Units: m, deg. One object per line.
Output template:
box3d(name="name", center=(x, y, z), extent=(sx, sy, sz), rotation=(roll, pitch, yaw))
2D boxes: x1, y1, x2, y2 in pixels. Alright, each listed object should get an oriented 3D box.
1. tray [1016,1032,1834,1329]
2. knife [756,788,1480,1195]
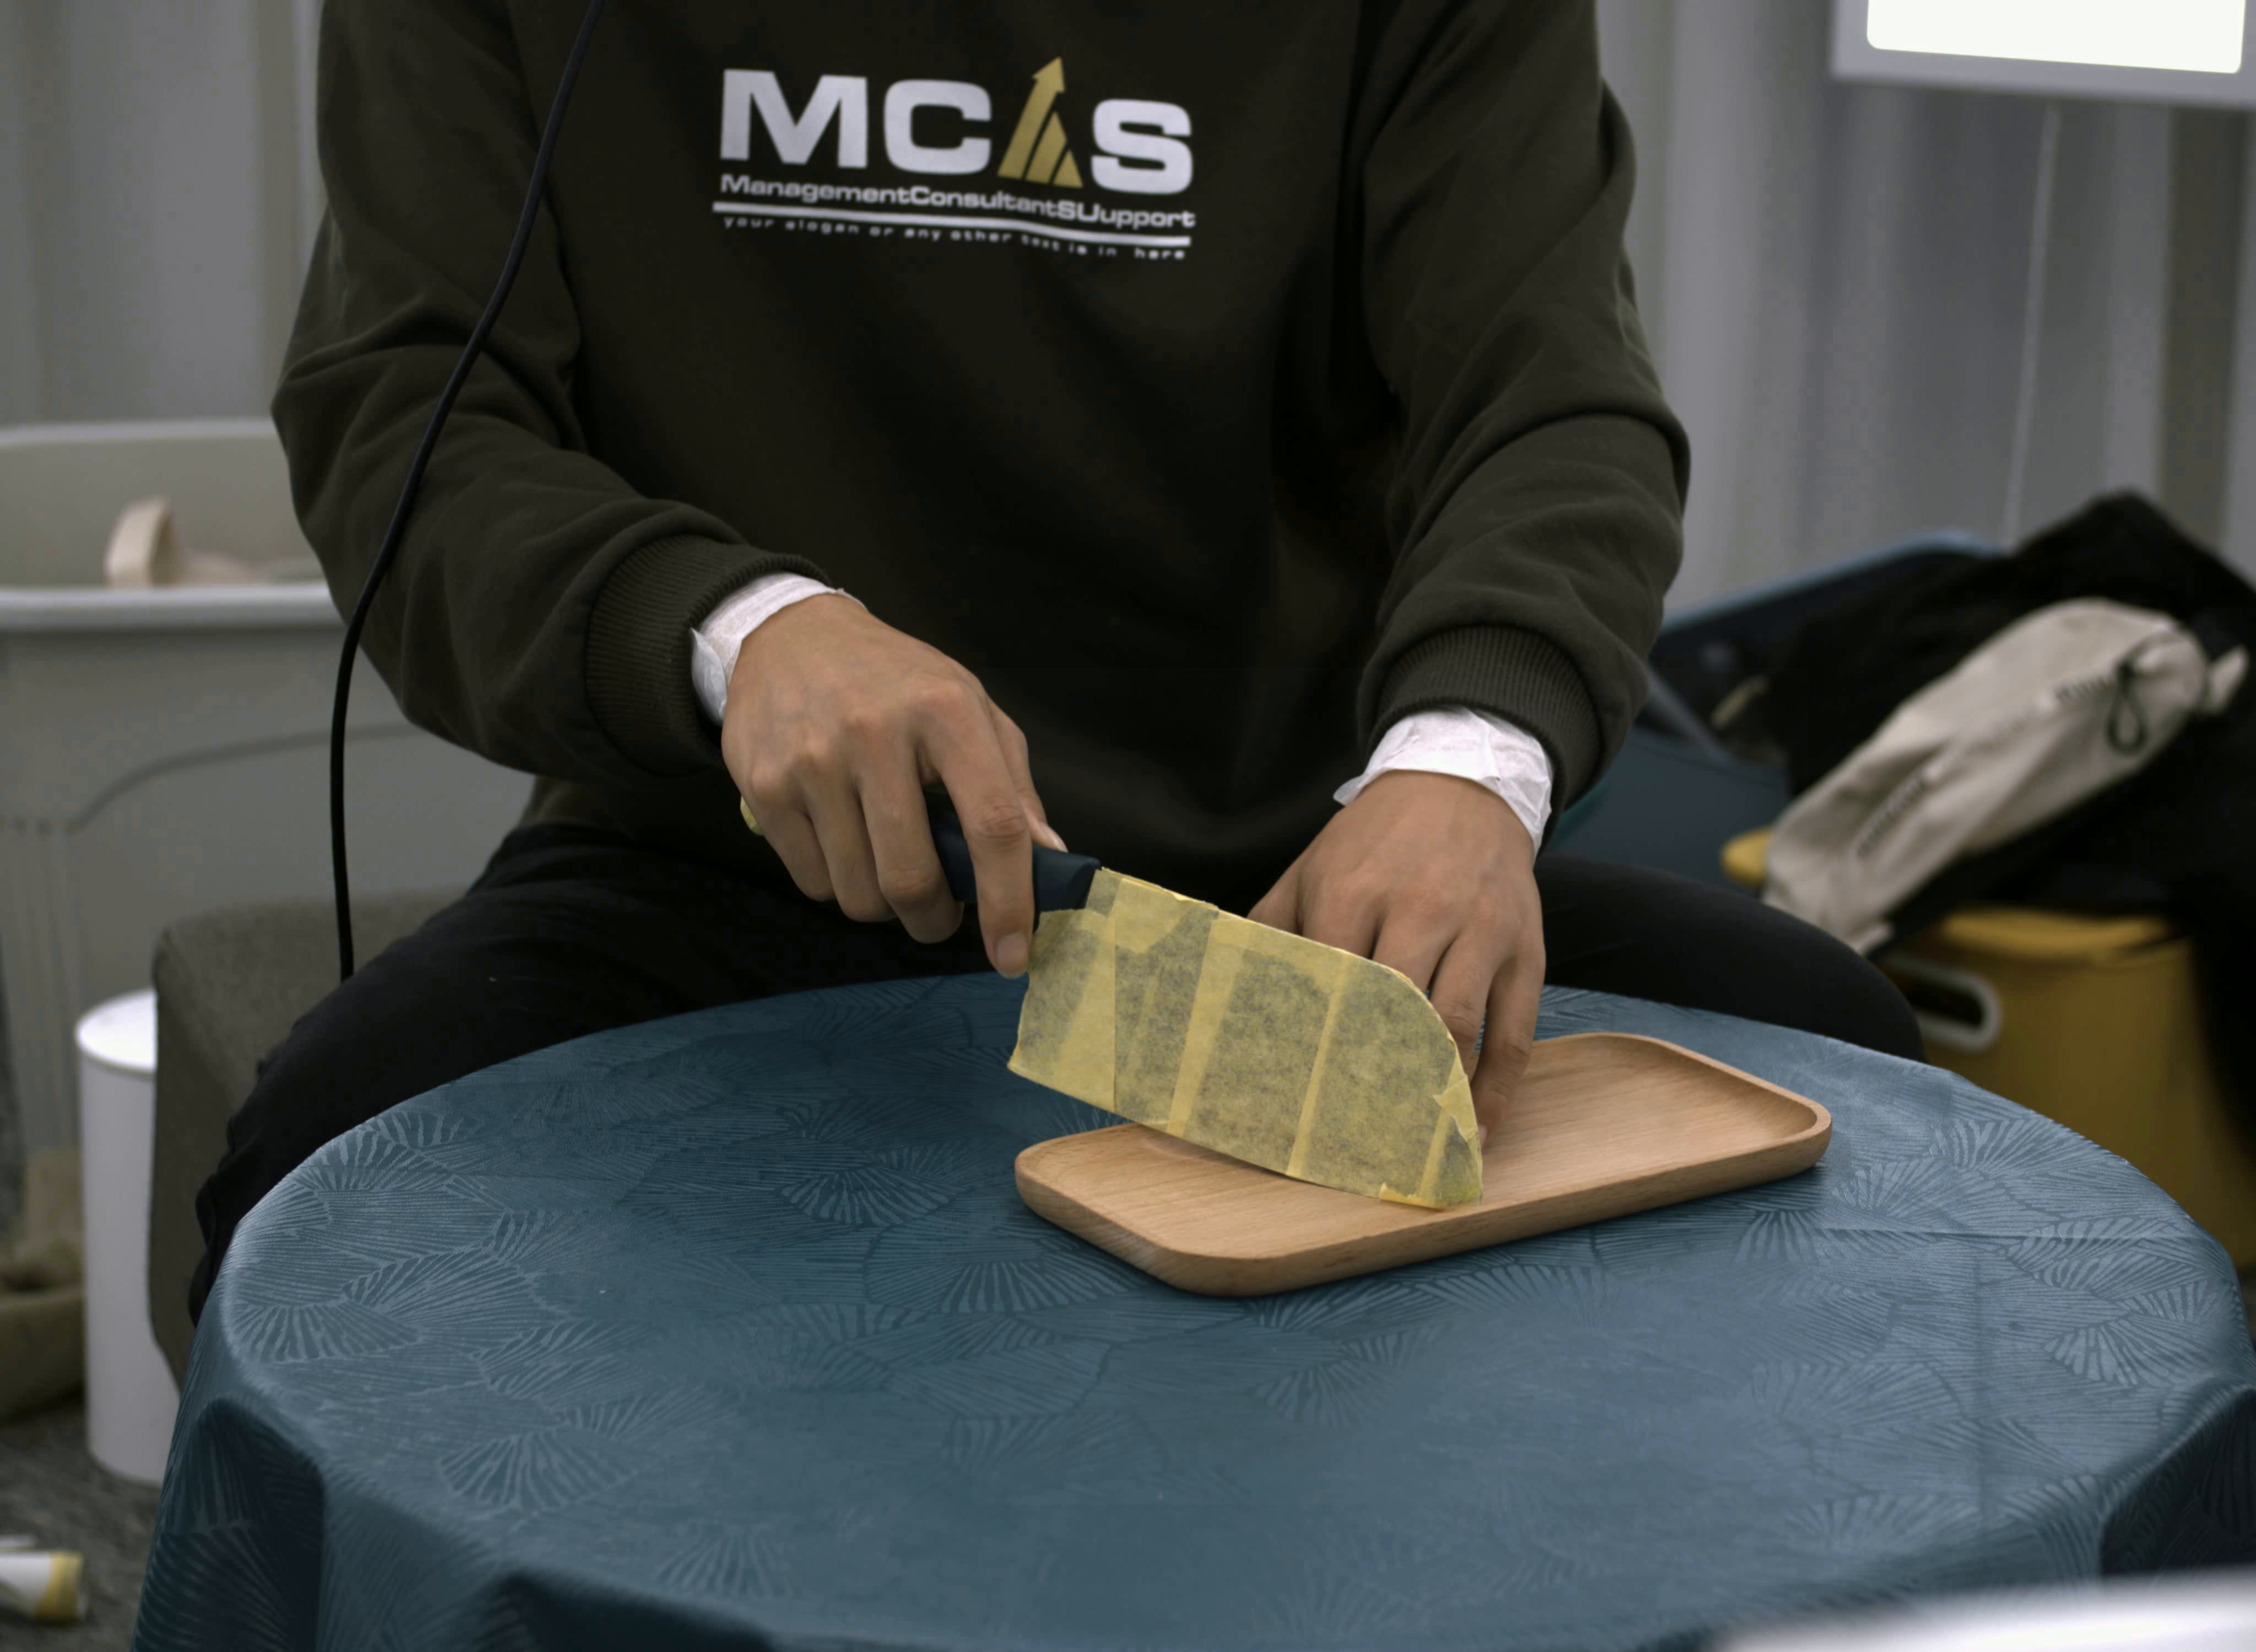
box3d(name="tray", center=(0.094, 0.108, 1.632), extent=(0.252, 0.023, 0.129), rotation=(-13, 17, -31))
box3d(name="knife", center=(-0.008, 0.049, 1.648), extent=(0.286, 0.081, 0.027), rotation=(22, 10, 31))
